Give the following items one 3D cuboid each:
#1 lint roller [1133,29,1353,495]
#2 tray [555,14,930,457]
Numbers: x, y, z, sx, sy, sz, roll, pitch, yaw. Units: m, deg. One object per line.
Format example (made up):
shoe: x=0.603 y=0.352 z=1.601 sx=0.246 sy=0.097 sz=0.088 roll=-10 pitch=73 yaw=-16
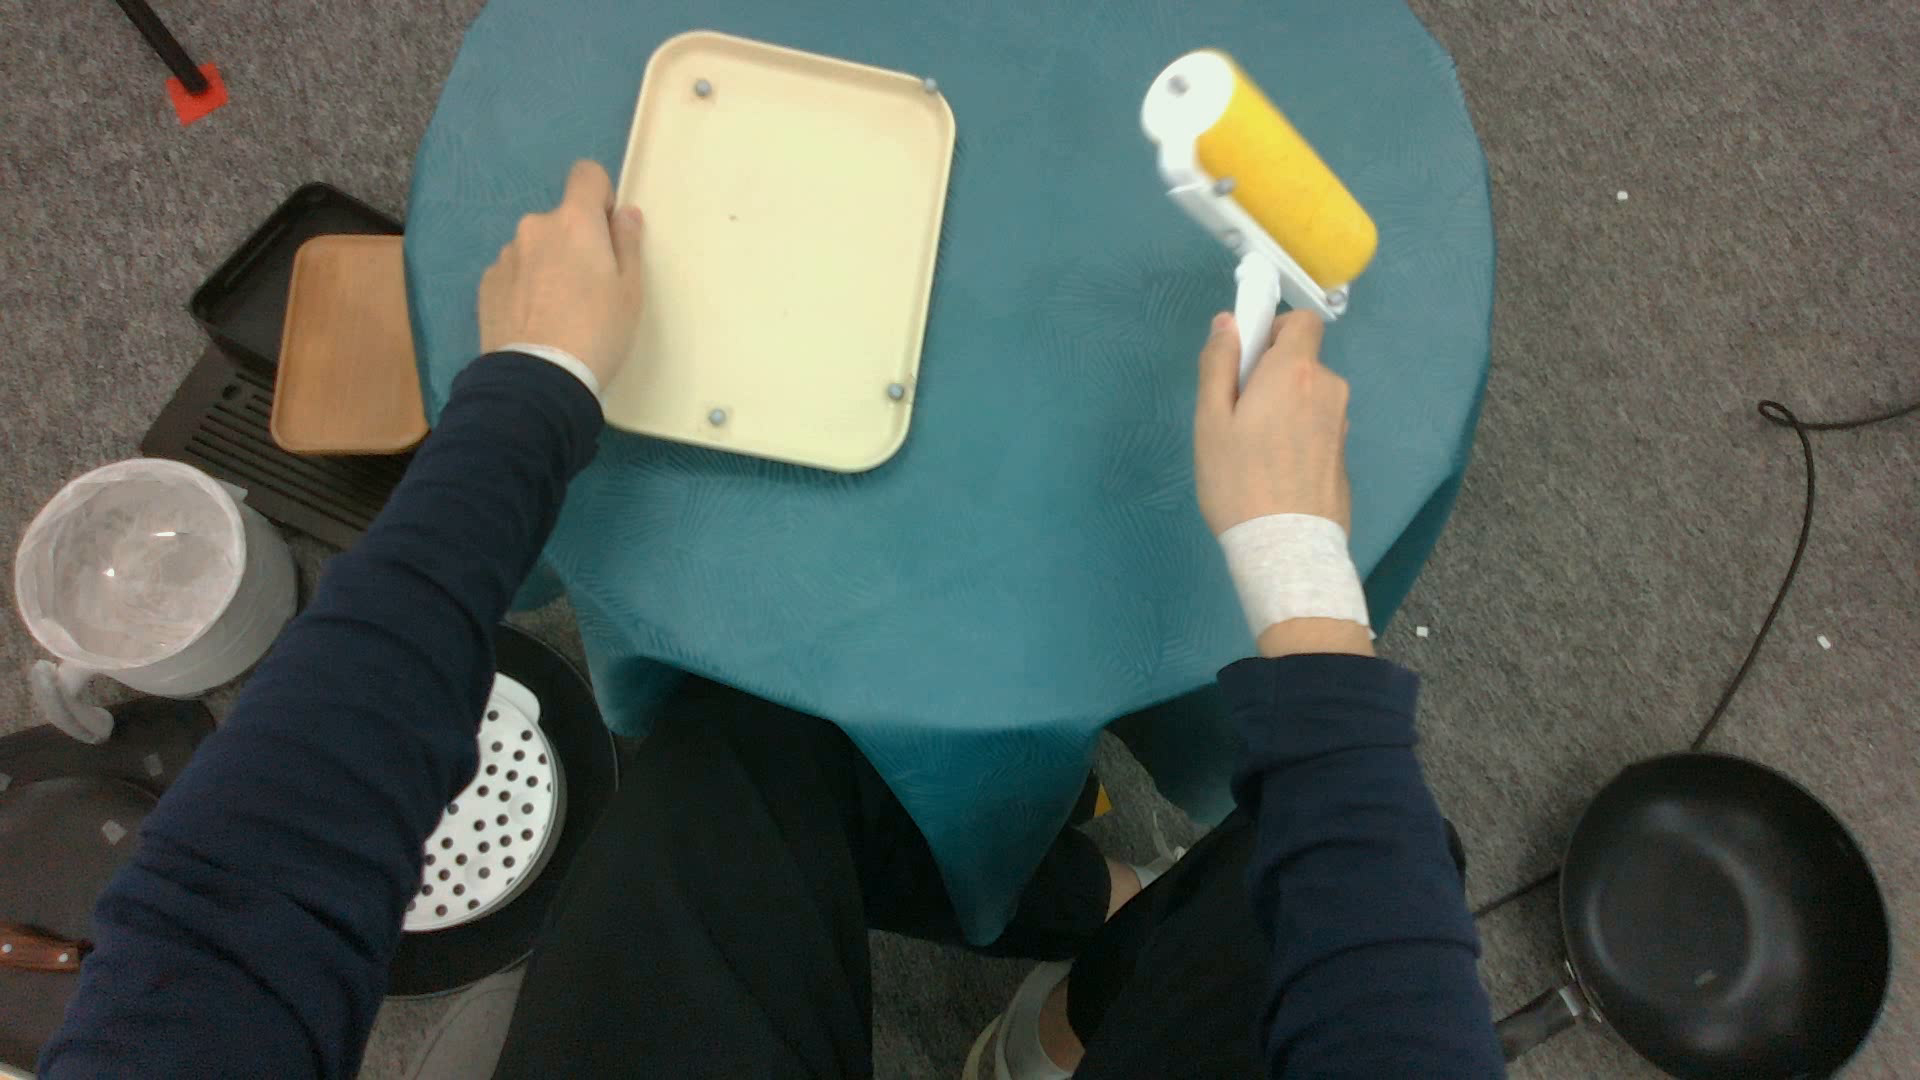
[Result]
lint roller: x=0.141 y=-0.117 z=0.653 sx=0.051 sy=0.174 sz=0.192 roll=-11 pitch=71 yaw=33
tray: x=-0.110 y=-0.163 z=0.730 sx=0.171 sy=0.017 sz=0.240 roll=10 pitch=72 yaw=-9
